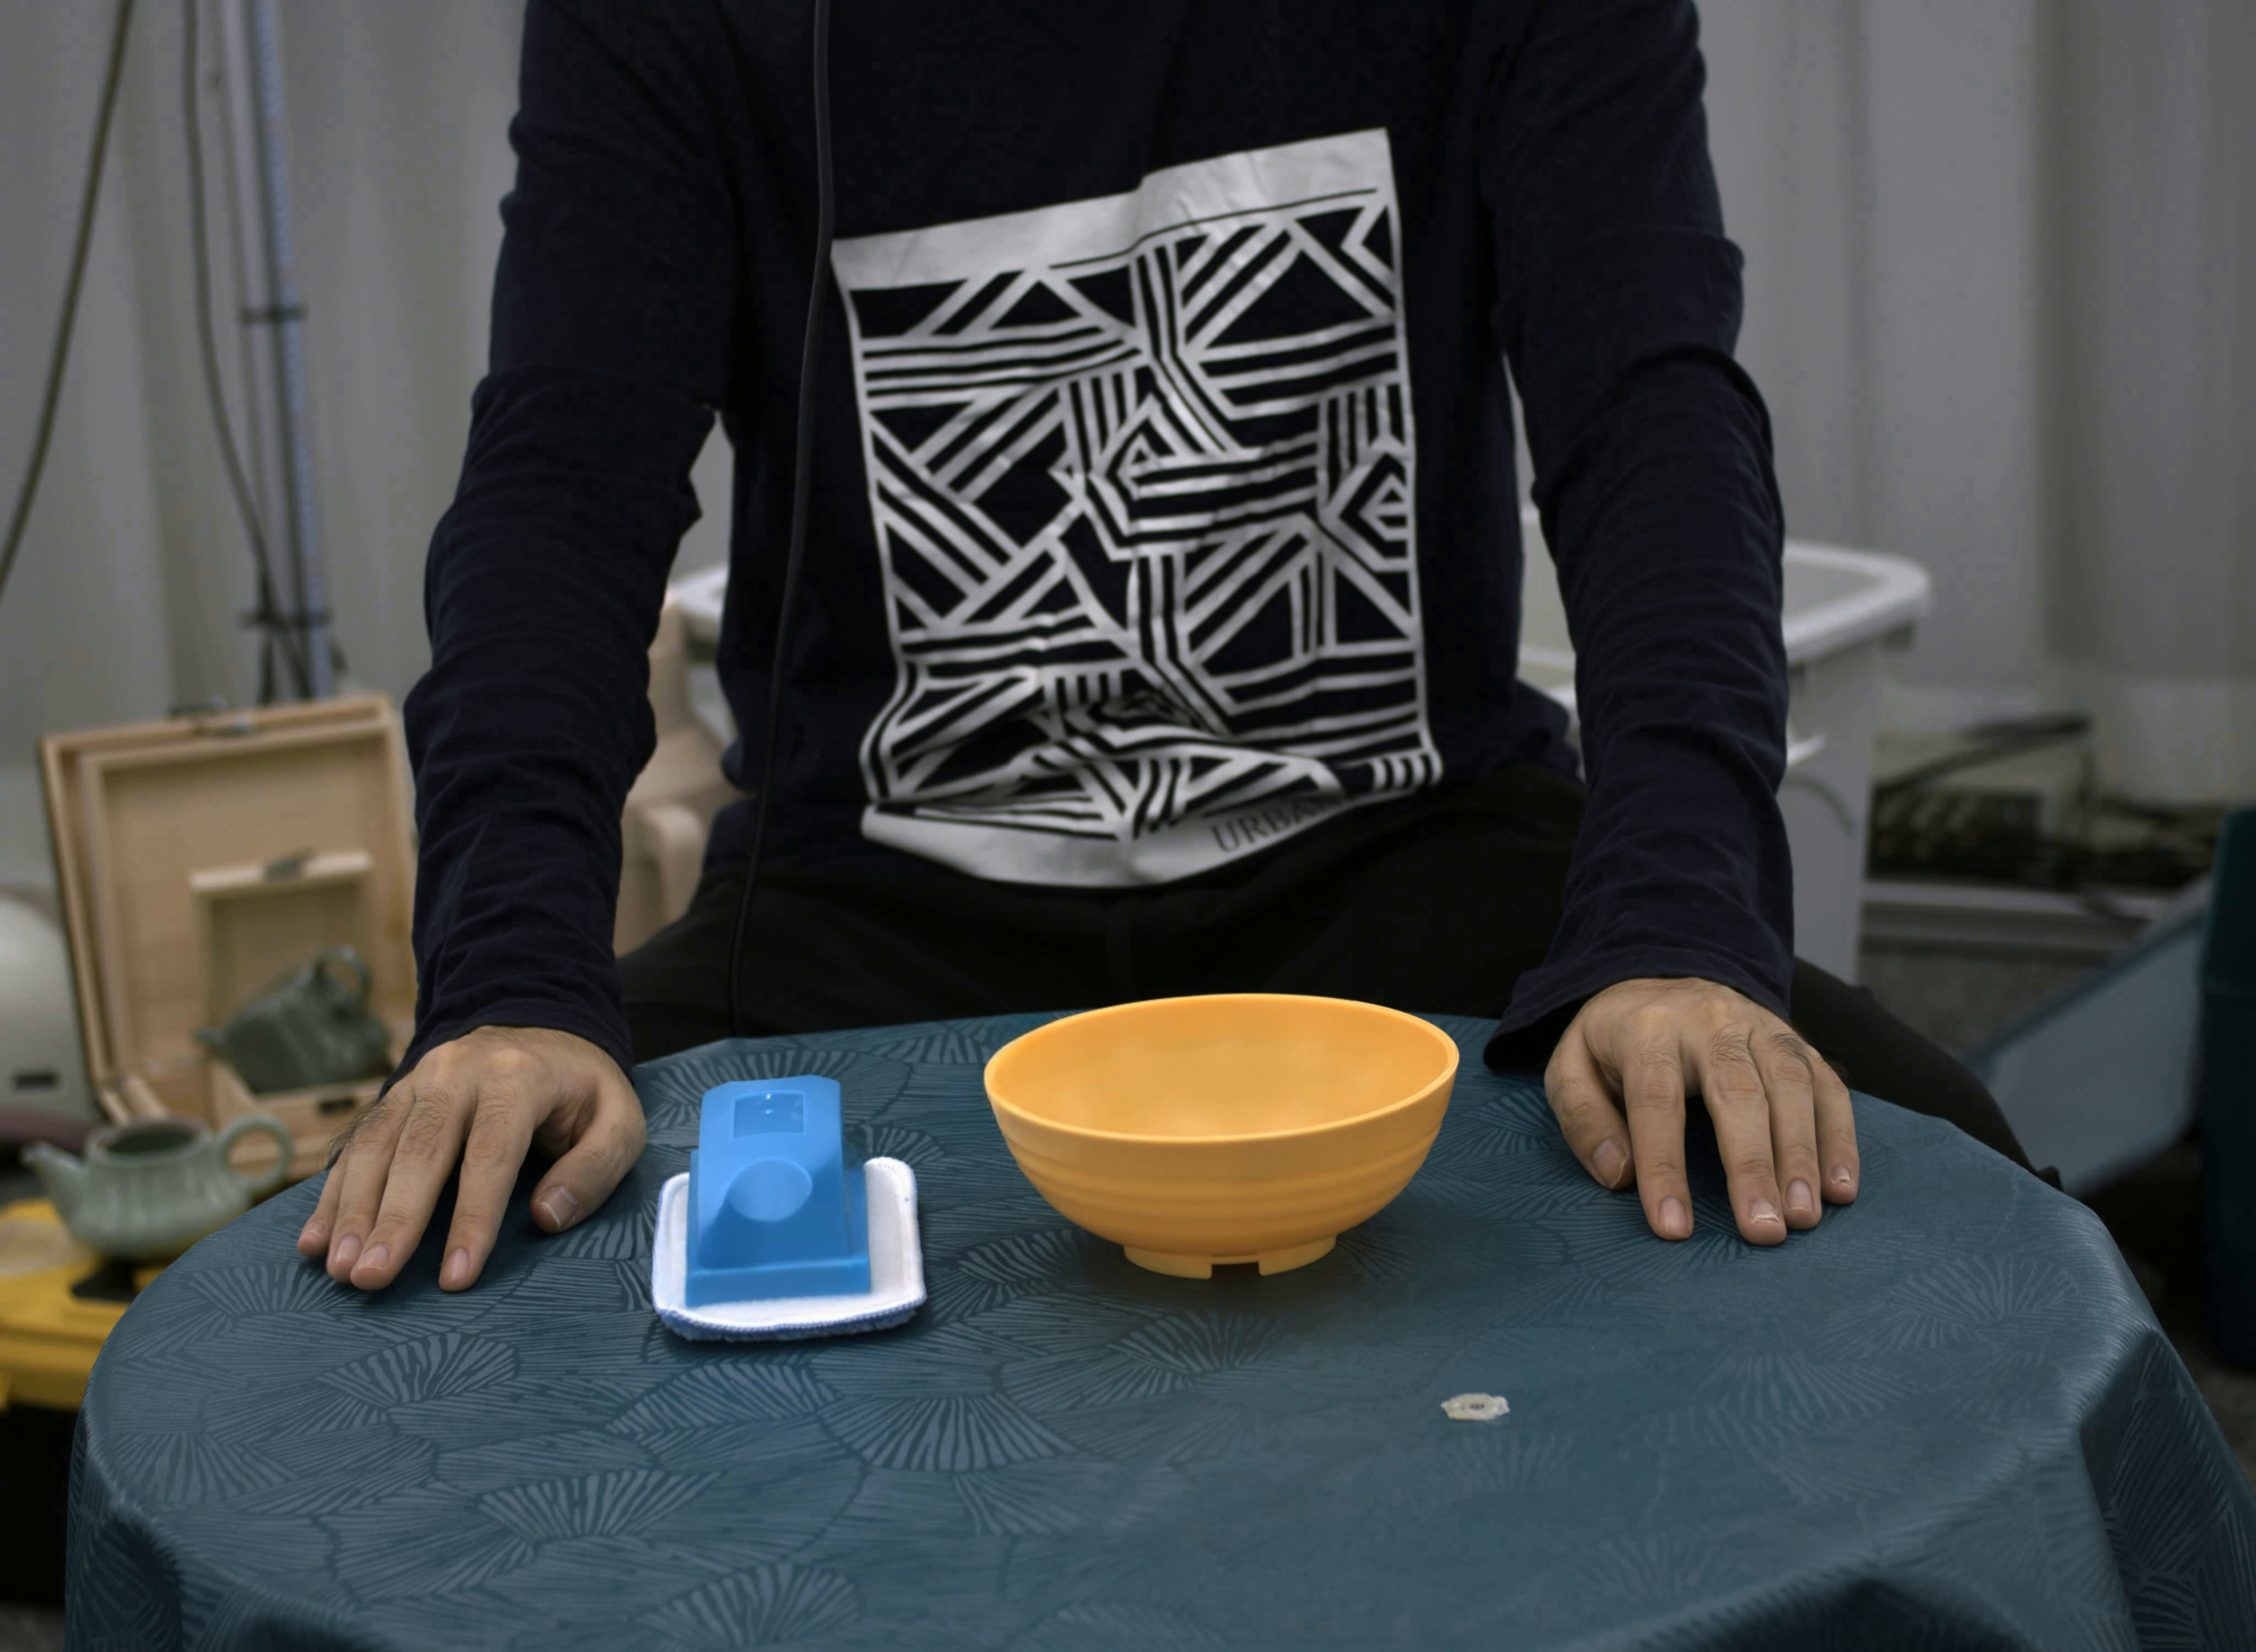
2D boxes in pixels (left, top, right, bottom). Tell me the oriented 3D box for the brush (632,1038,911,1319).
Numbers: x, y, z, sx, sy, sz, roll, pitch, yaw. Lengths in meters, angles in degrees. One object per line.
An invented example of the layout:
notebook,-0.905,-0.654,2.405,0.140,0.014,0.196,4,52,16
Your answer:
brush,-0.107,0.104,1.658,0.083,0.055,0.145,0,17,-2

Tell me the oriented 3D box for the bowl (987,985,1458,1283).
bowl,0.029,0.099,1.658,0.145,0.060,0.146,-2,17,0
